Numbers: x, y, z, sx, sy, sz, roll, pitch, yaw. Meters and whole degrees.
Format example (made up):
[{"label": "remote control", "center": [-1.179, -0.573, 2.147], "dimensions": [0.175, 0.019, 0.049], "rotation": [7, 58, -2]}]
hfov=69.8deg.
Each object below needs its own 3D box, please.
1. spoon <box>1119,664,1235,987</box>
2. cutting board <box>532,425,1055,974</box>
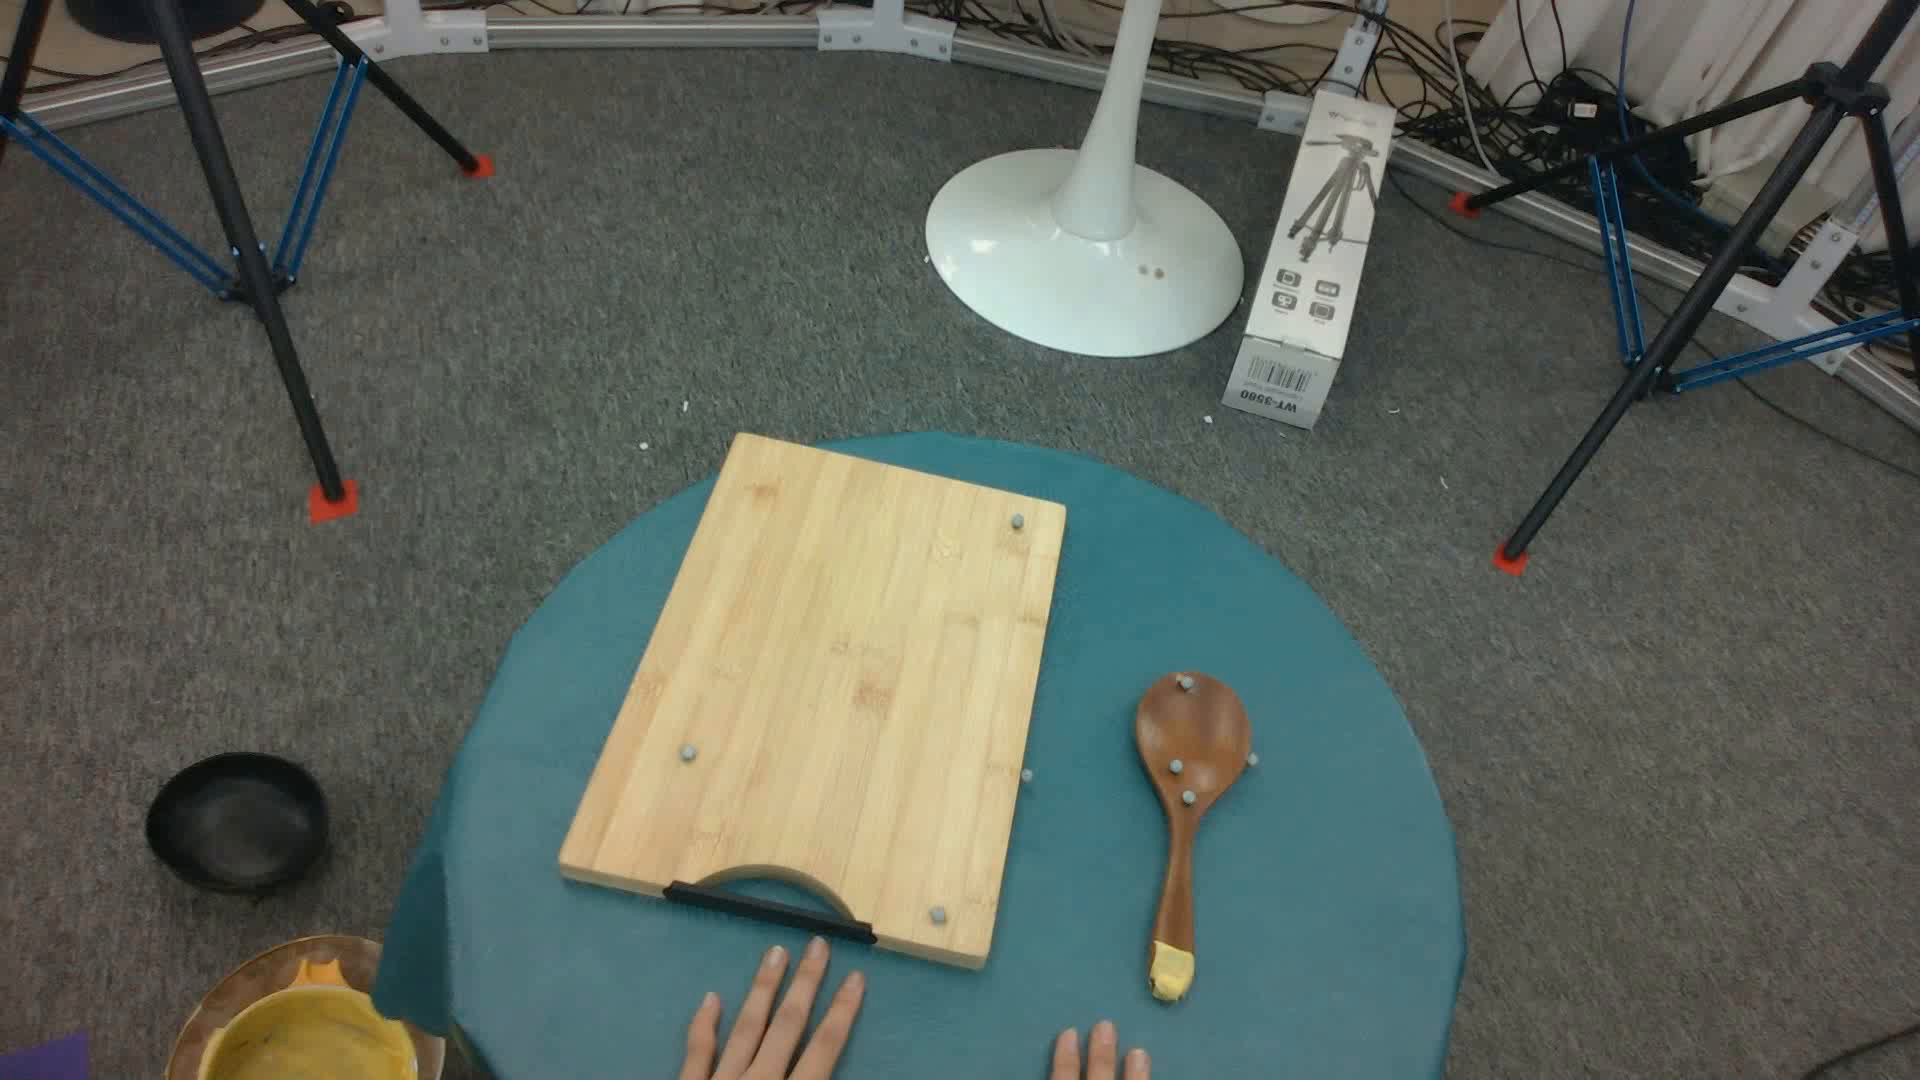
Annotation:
[{"label": "spoon", "center": [0.125, 0.164, 0.825], "dimensions": [0.075, 0.017, 0.217], "rotation": [14, 49, -1]}, {"label": "cutting board", "center": [-0.083, 0.079, 0.858], "dimensions": [0.251, 0.023, 0.350], "rotation": [12, 49, 0]}]
